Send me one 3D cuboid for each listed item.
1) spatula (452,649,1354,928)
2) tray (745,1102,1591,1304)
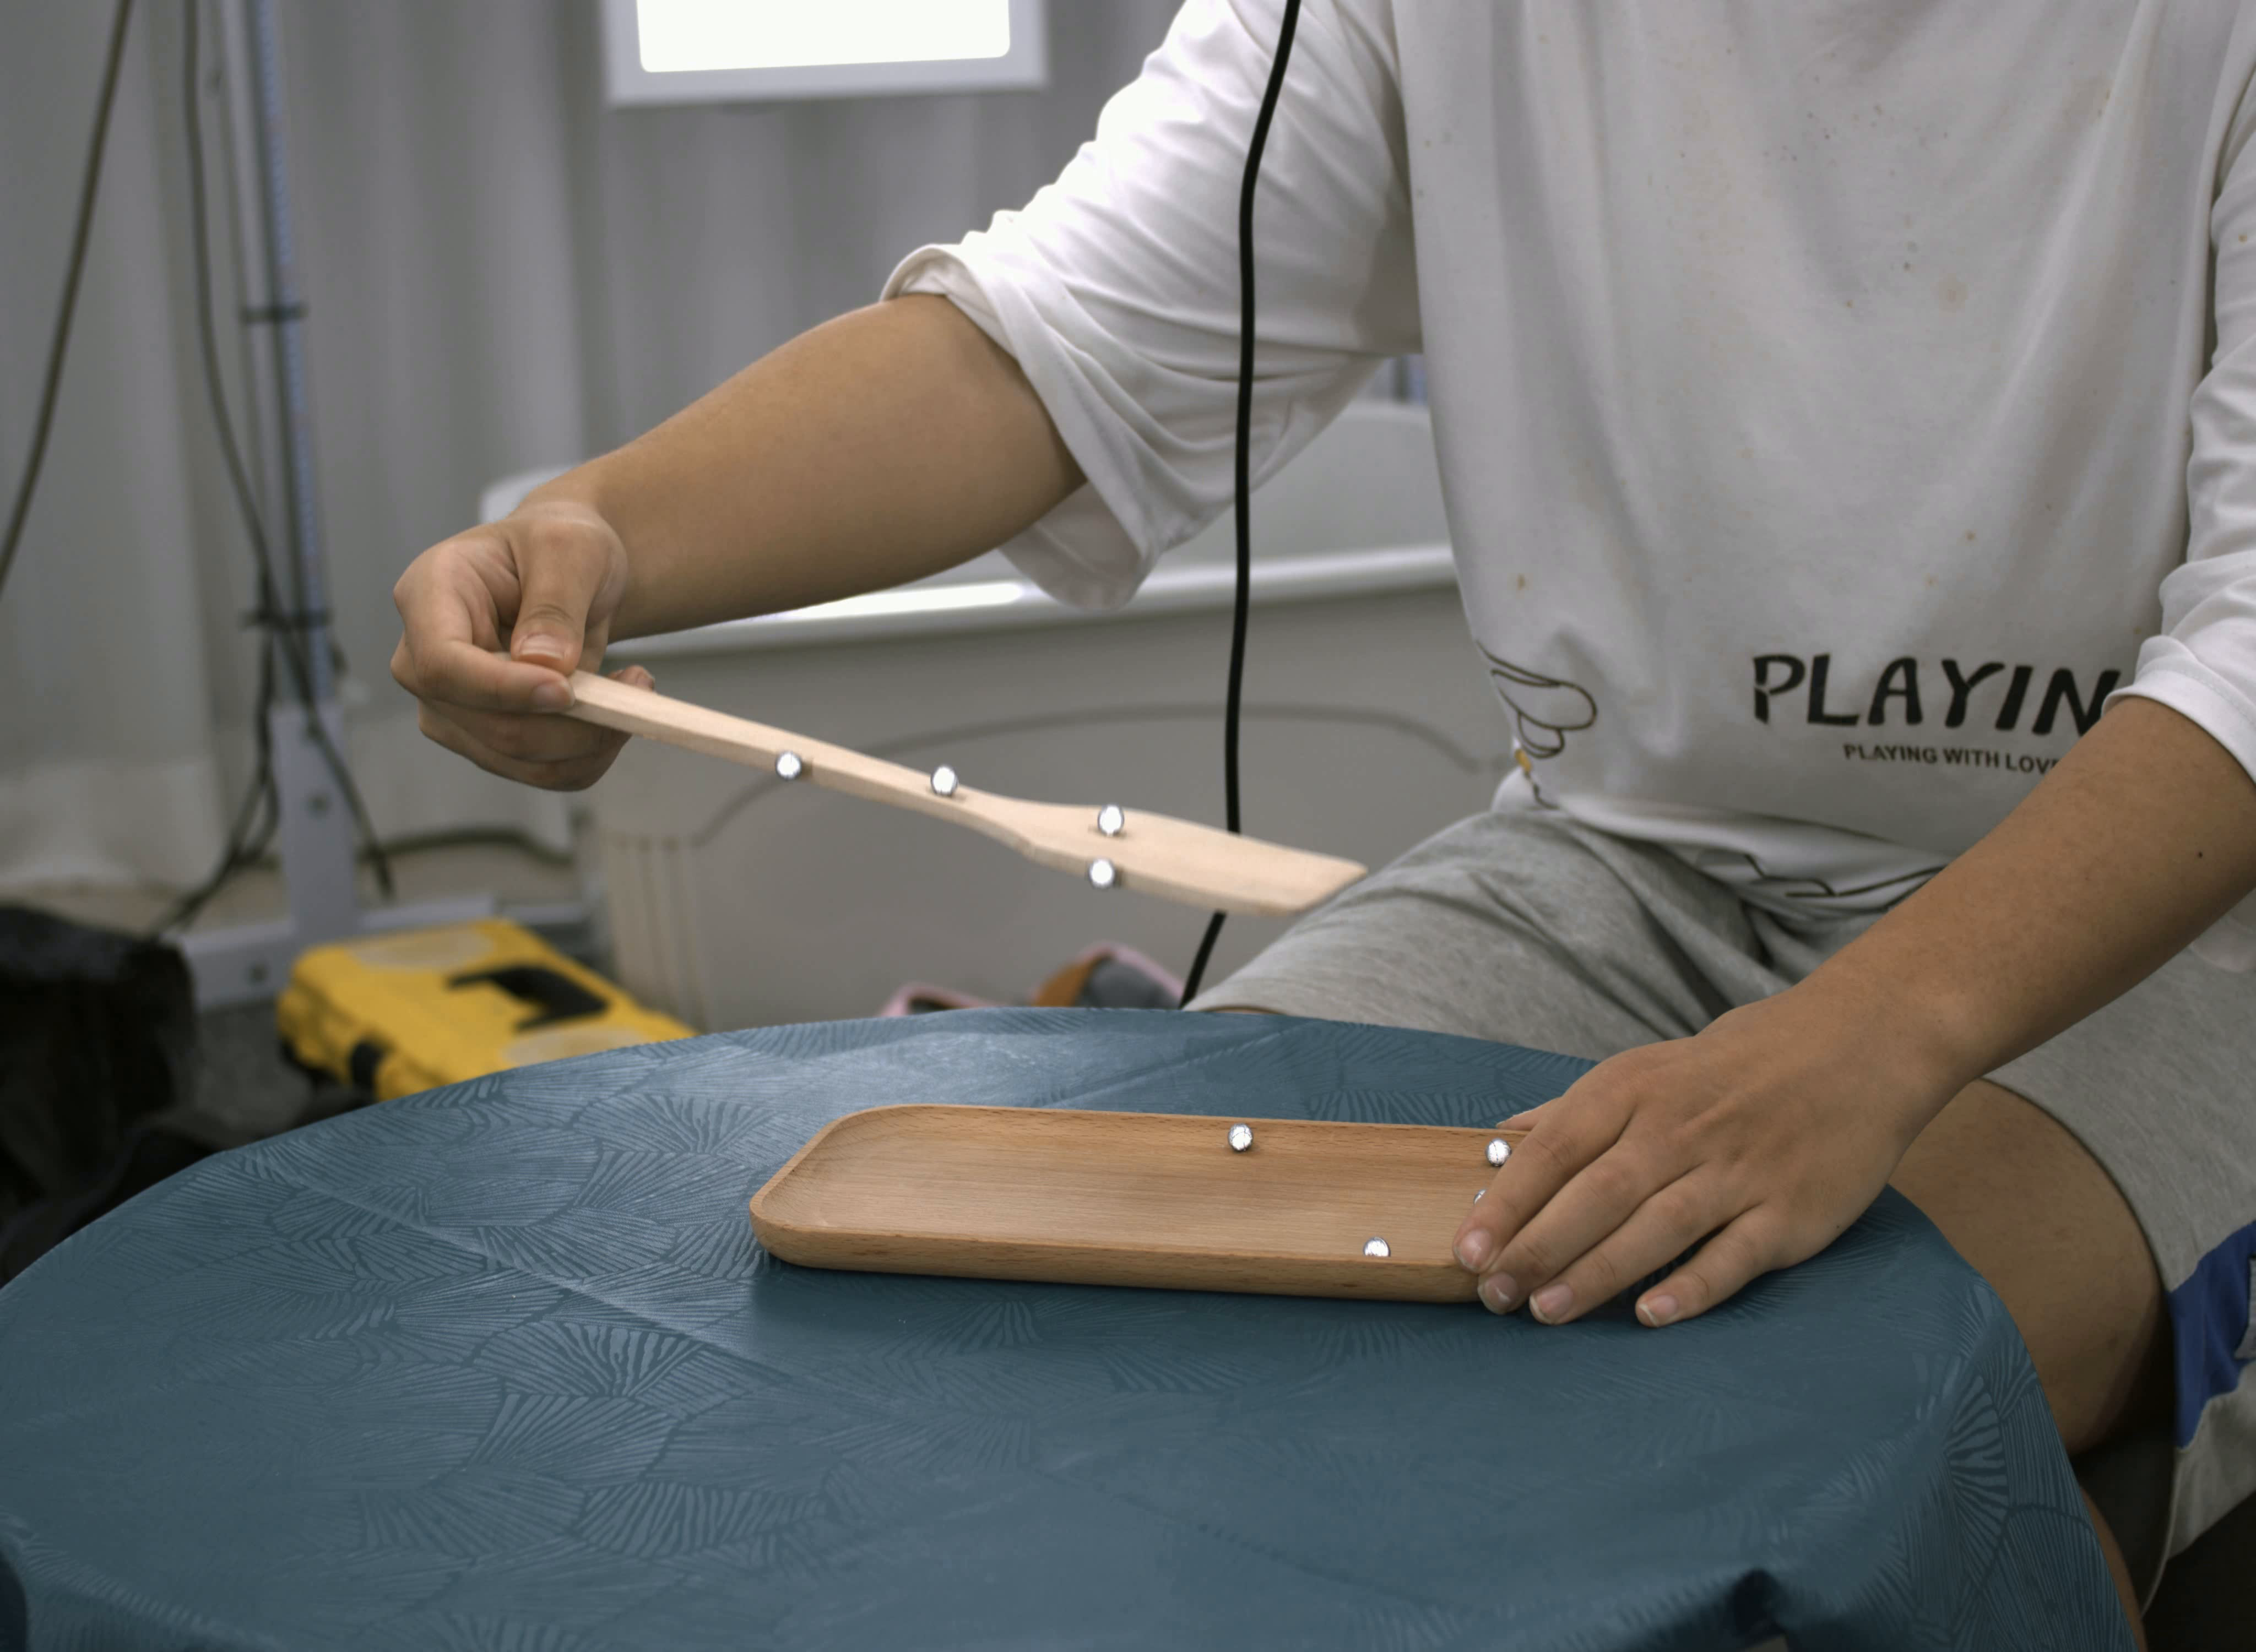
[{"bbox_3d":[-0.076,-0.013,1.668,0.294,0.010,0.072,16,17,19],"label":"spatula"},{"bbox_3d":[0.013,0.116,1.685,0.250,0.023,0.131,1,13,17],"label":"tray"}]
